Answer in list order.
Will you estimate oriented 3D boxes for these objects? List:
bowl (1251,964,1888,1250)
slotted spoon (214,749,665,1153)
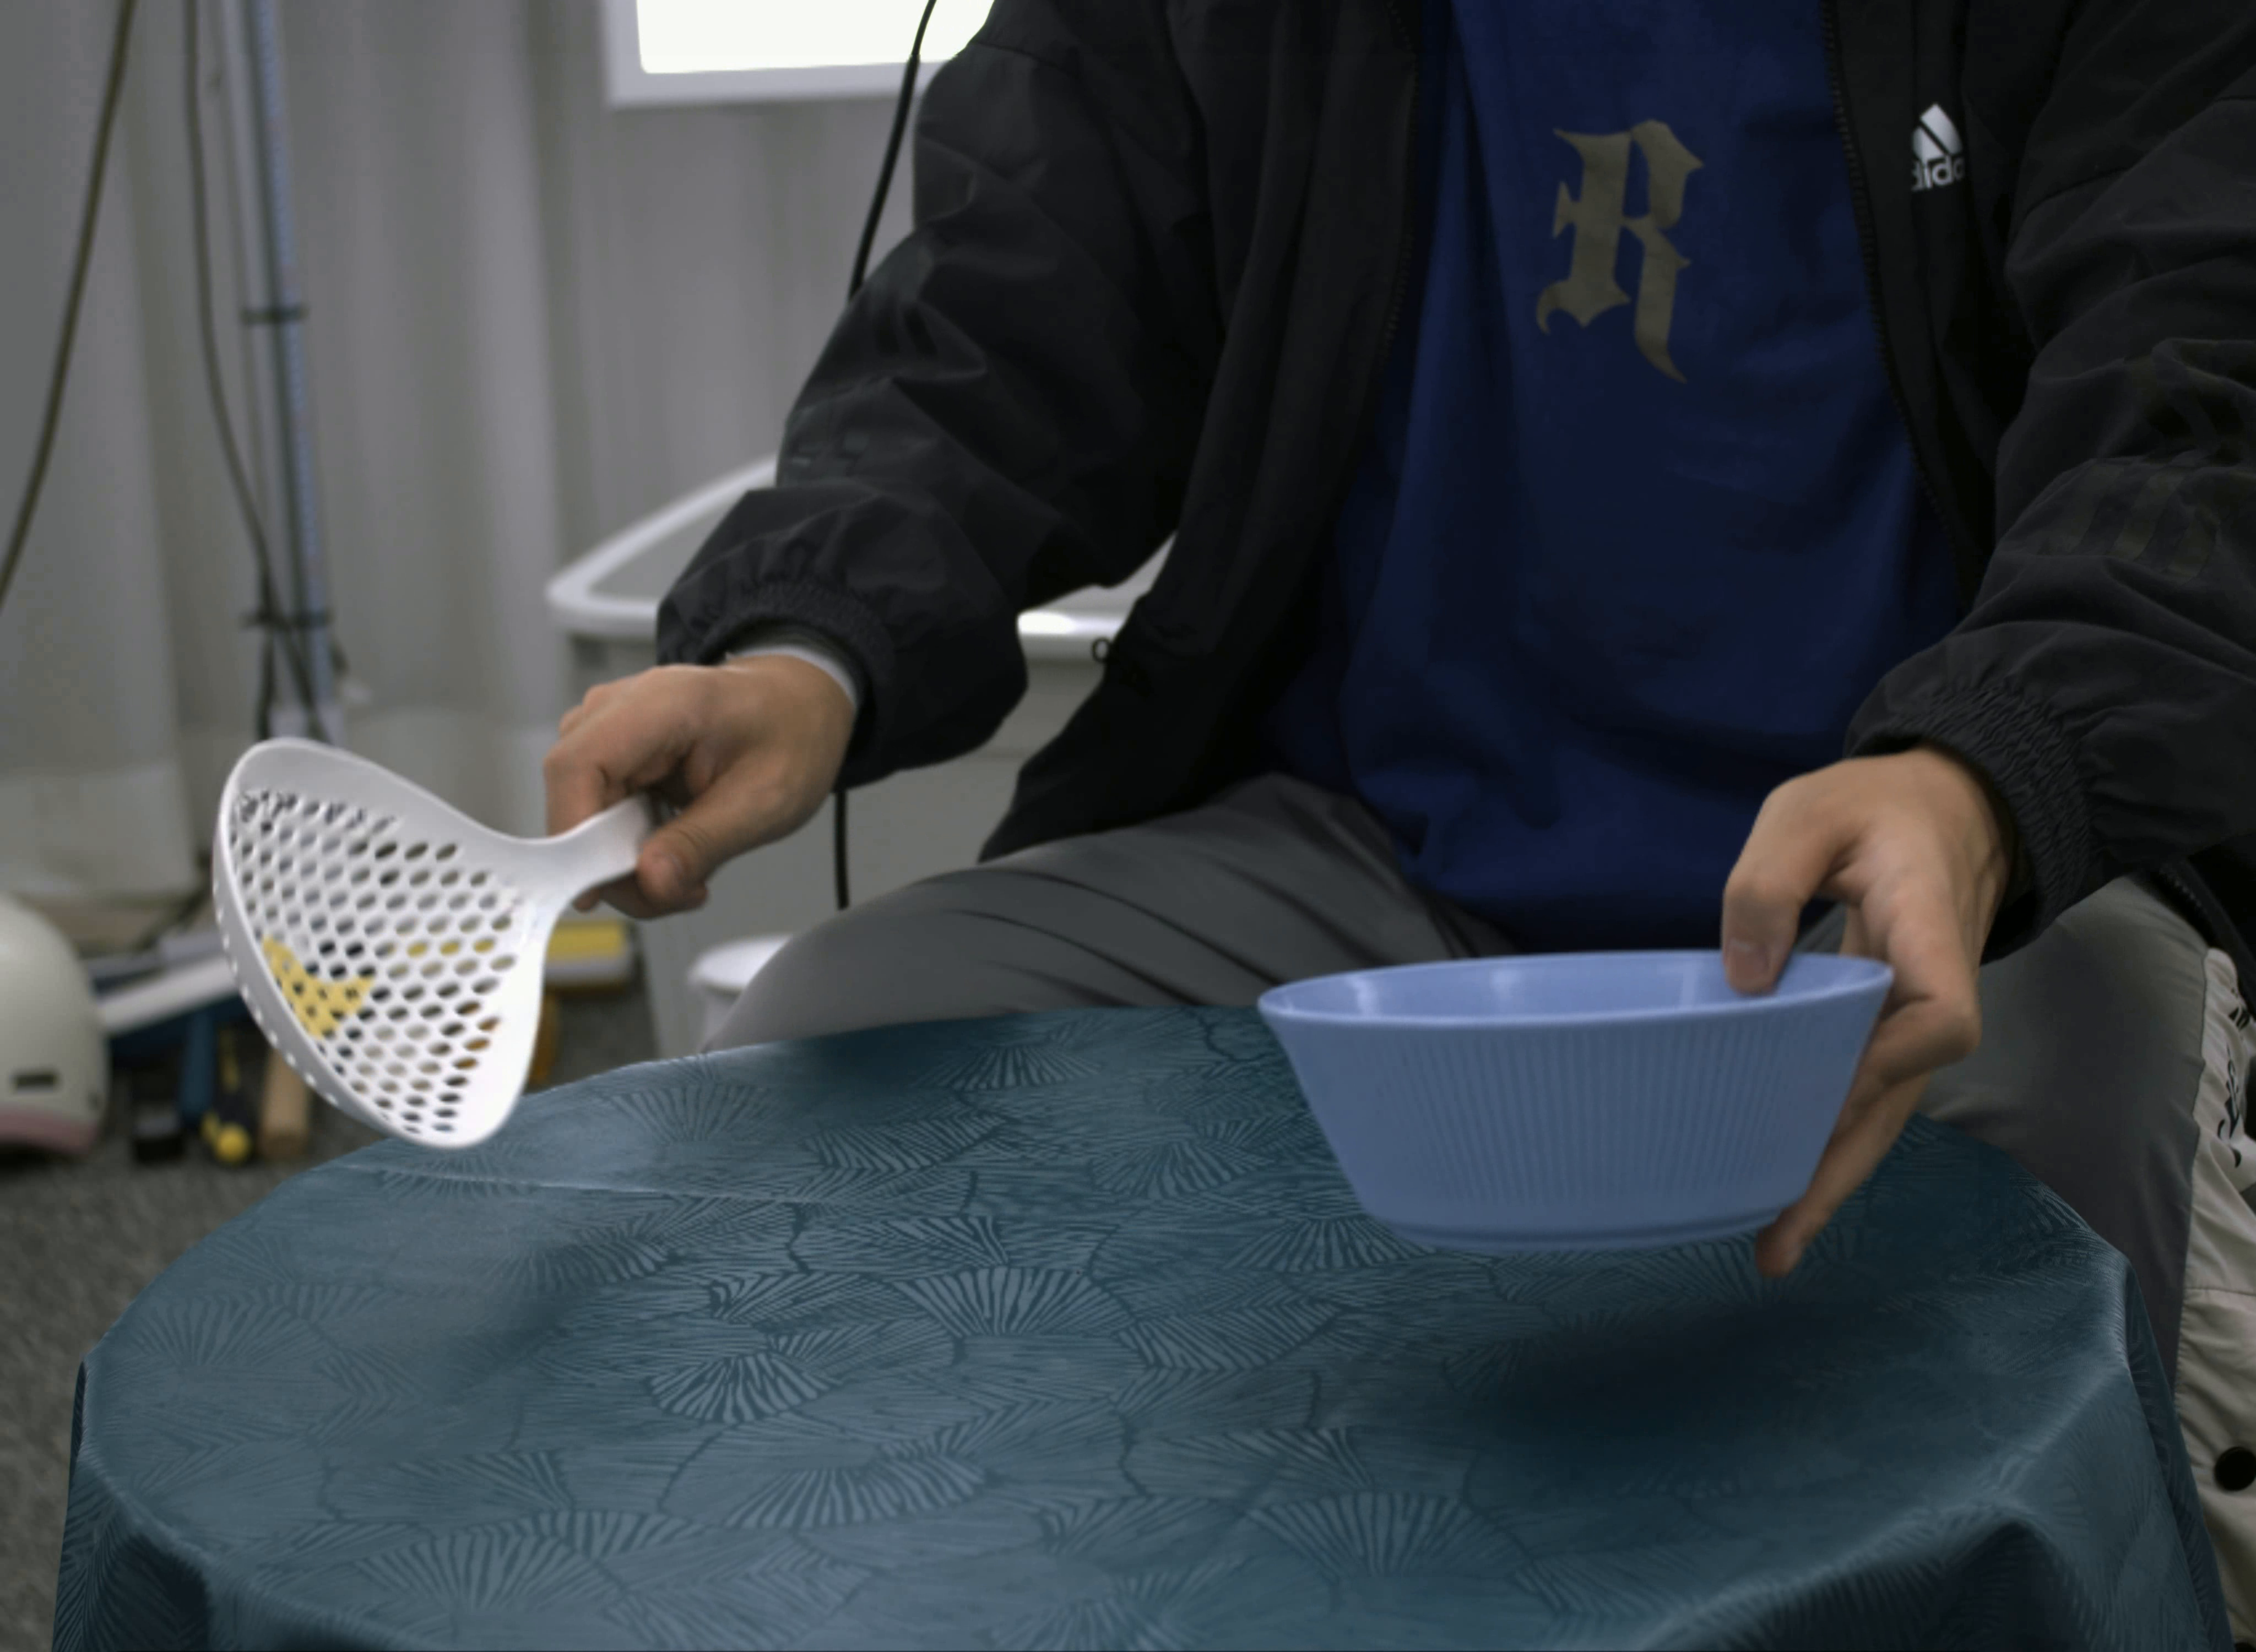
[{"bbox_3d":[0.122,0.077,1.507,0.175,0.070,0.176,-2,3,0],"label":"bowl"},{"bbox_3d":[-0.196,0.023,1.706,0.050,0.137,0.348,-35,-1,22],"label":"slotted spoon"}]
